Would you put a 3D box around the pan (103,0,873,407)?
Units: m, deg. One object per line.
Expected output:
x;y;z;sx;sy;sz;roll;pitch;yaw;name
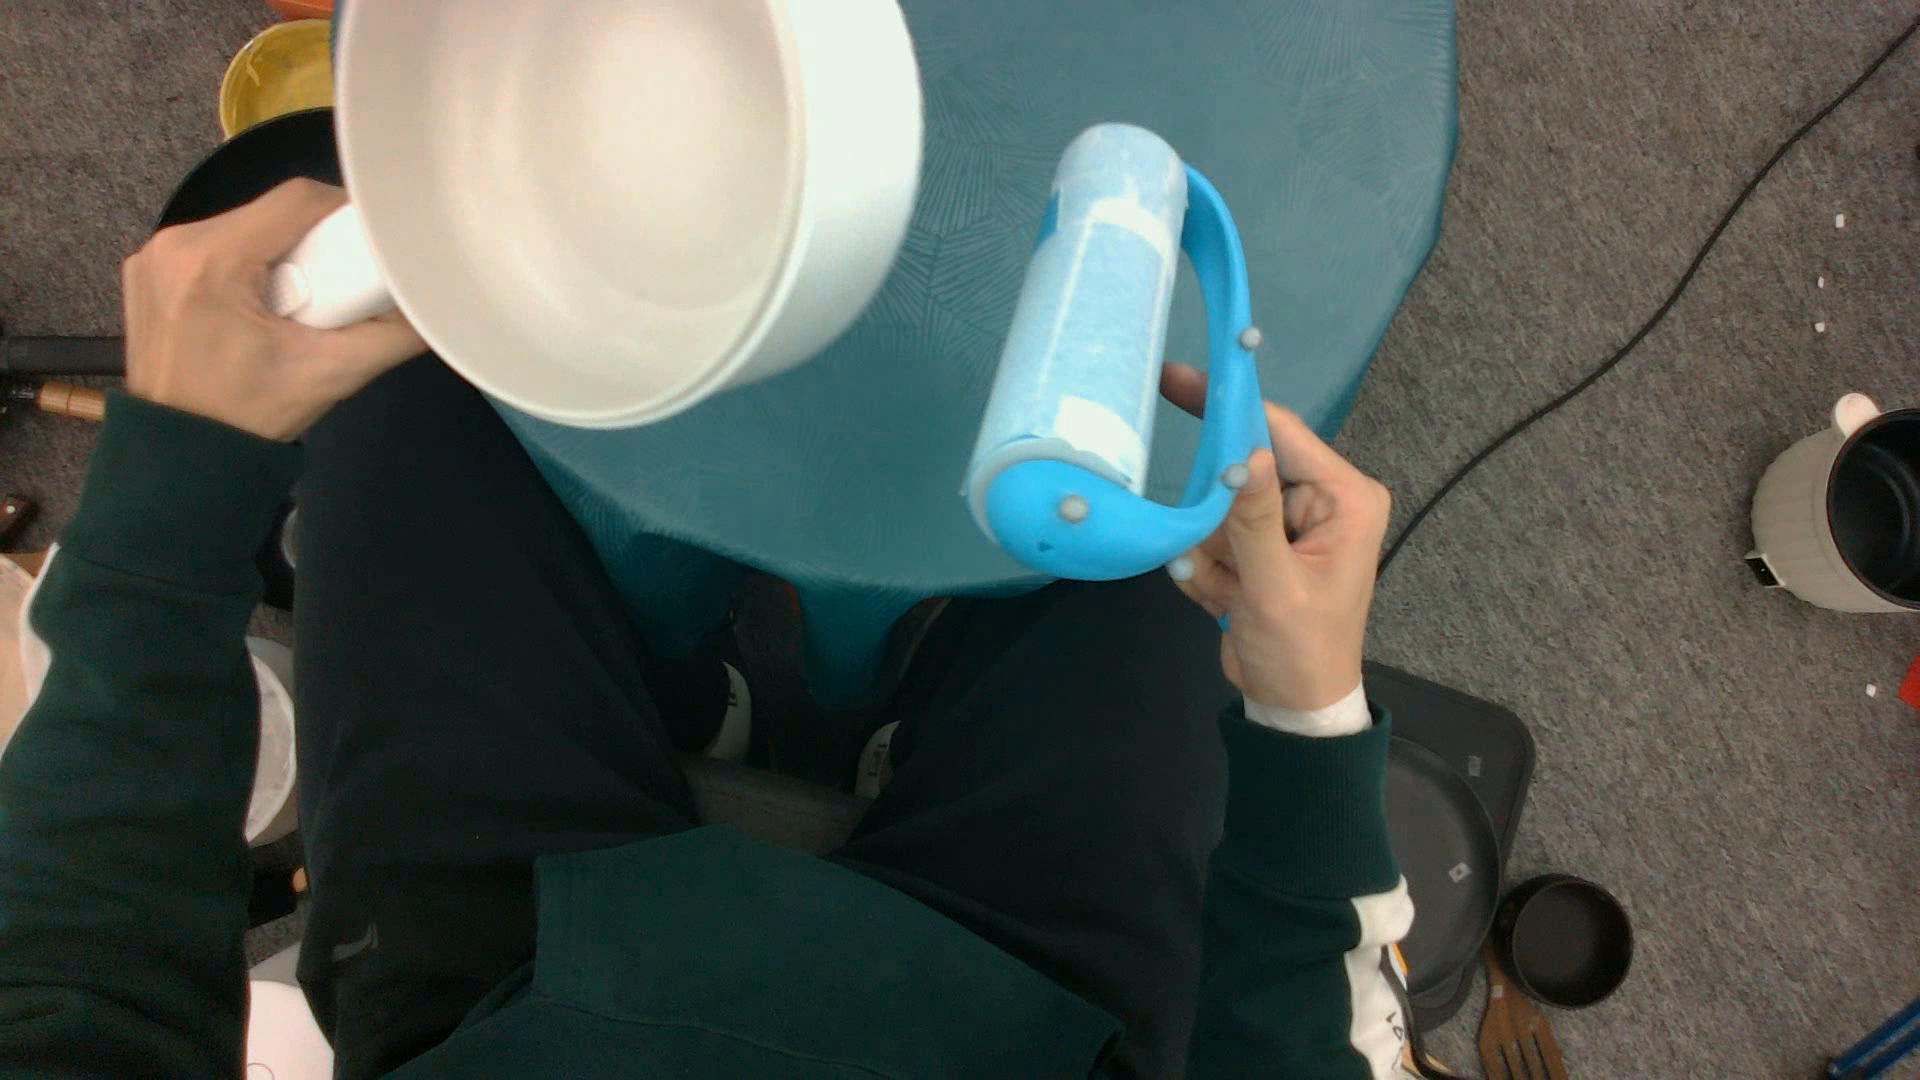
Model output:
-0.192;-0.134;0.531;0.353;0.102;0.201;-19;99;31;pan

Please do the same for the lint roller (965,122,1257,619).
0.077;-0.042;0.512;0.067;0.230;0.180;-25;126;28;lint roller
